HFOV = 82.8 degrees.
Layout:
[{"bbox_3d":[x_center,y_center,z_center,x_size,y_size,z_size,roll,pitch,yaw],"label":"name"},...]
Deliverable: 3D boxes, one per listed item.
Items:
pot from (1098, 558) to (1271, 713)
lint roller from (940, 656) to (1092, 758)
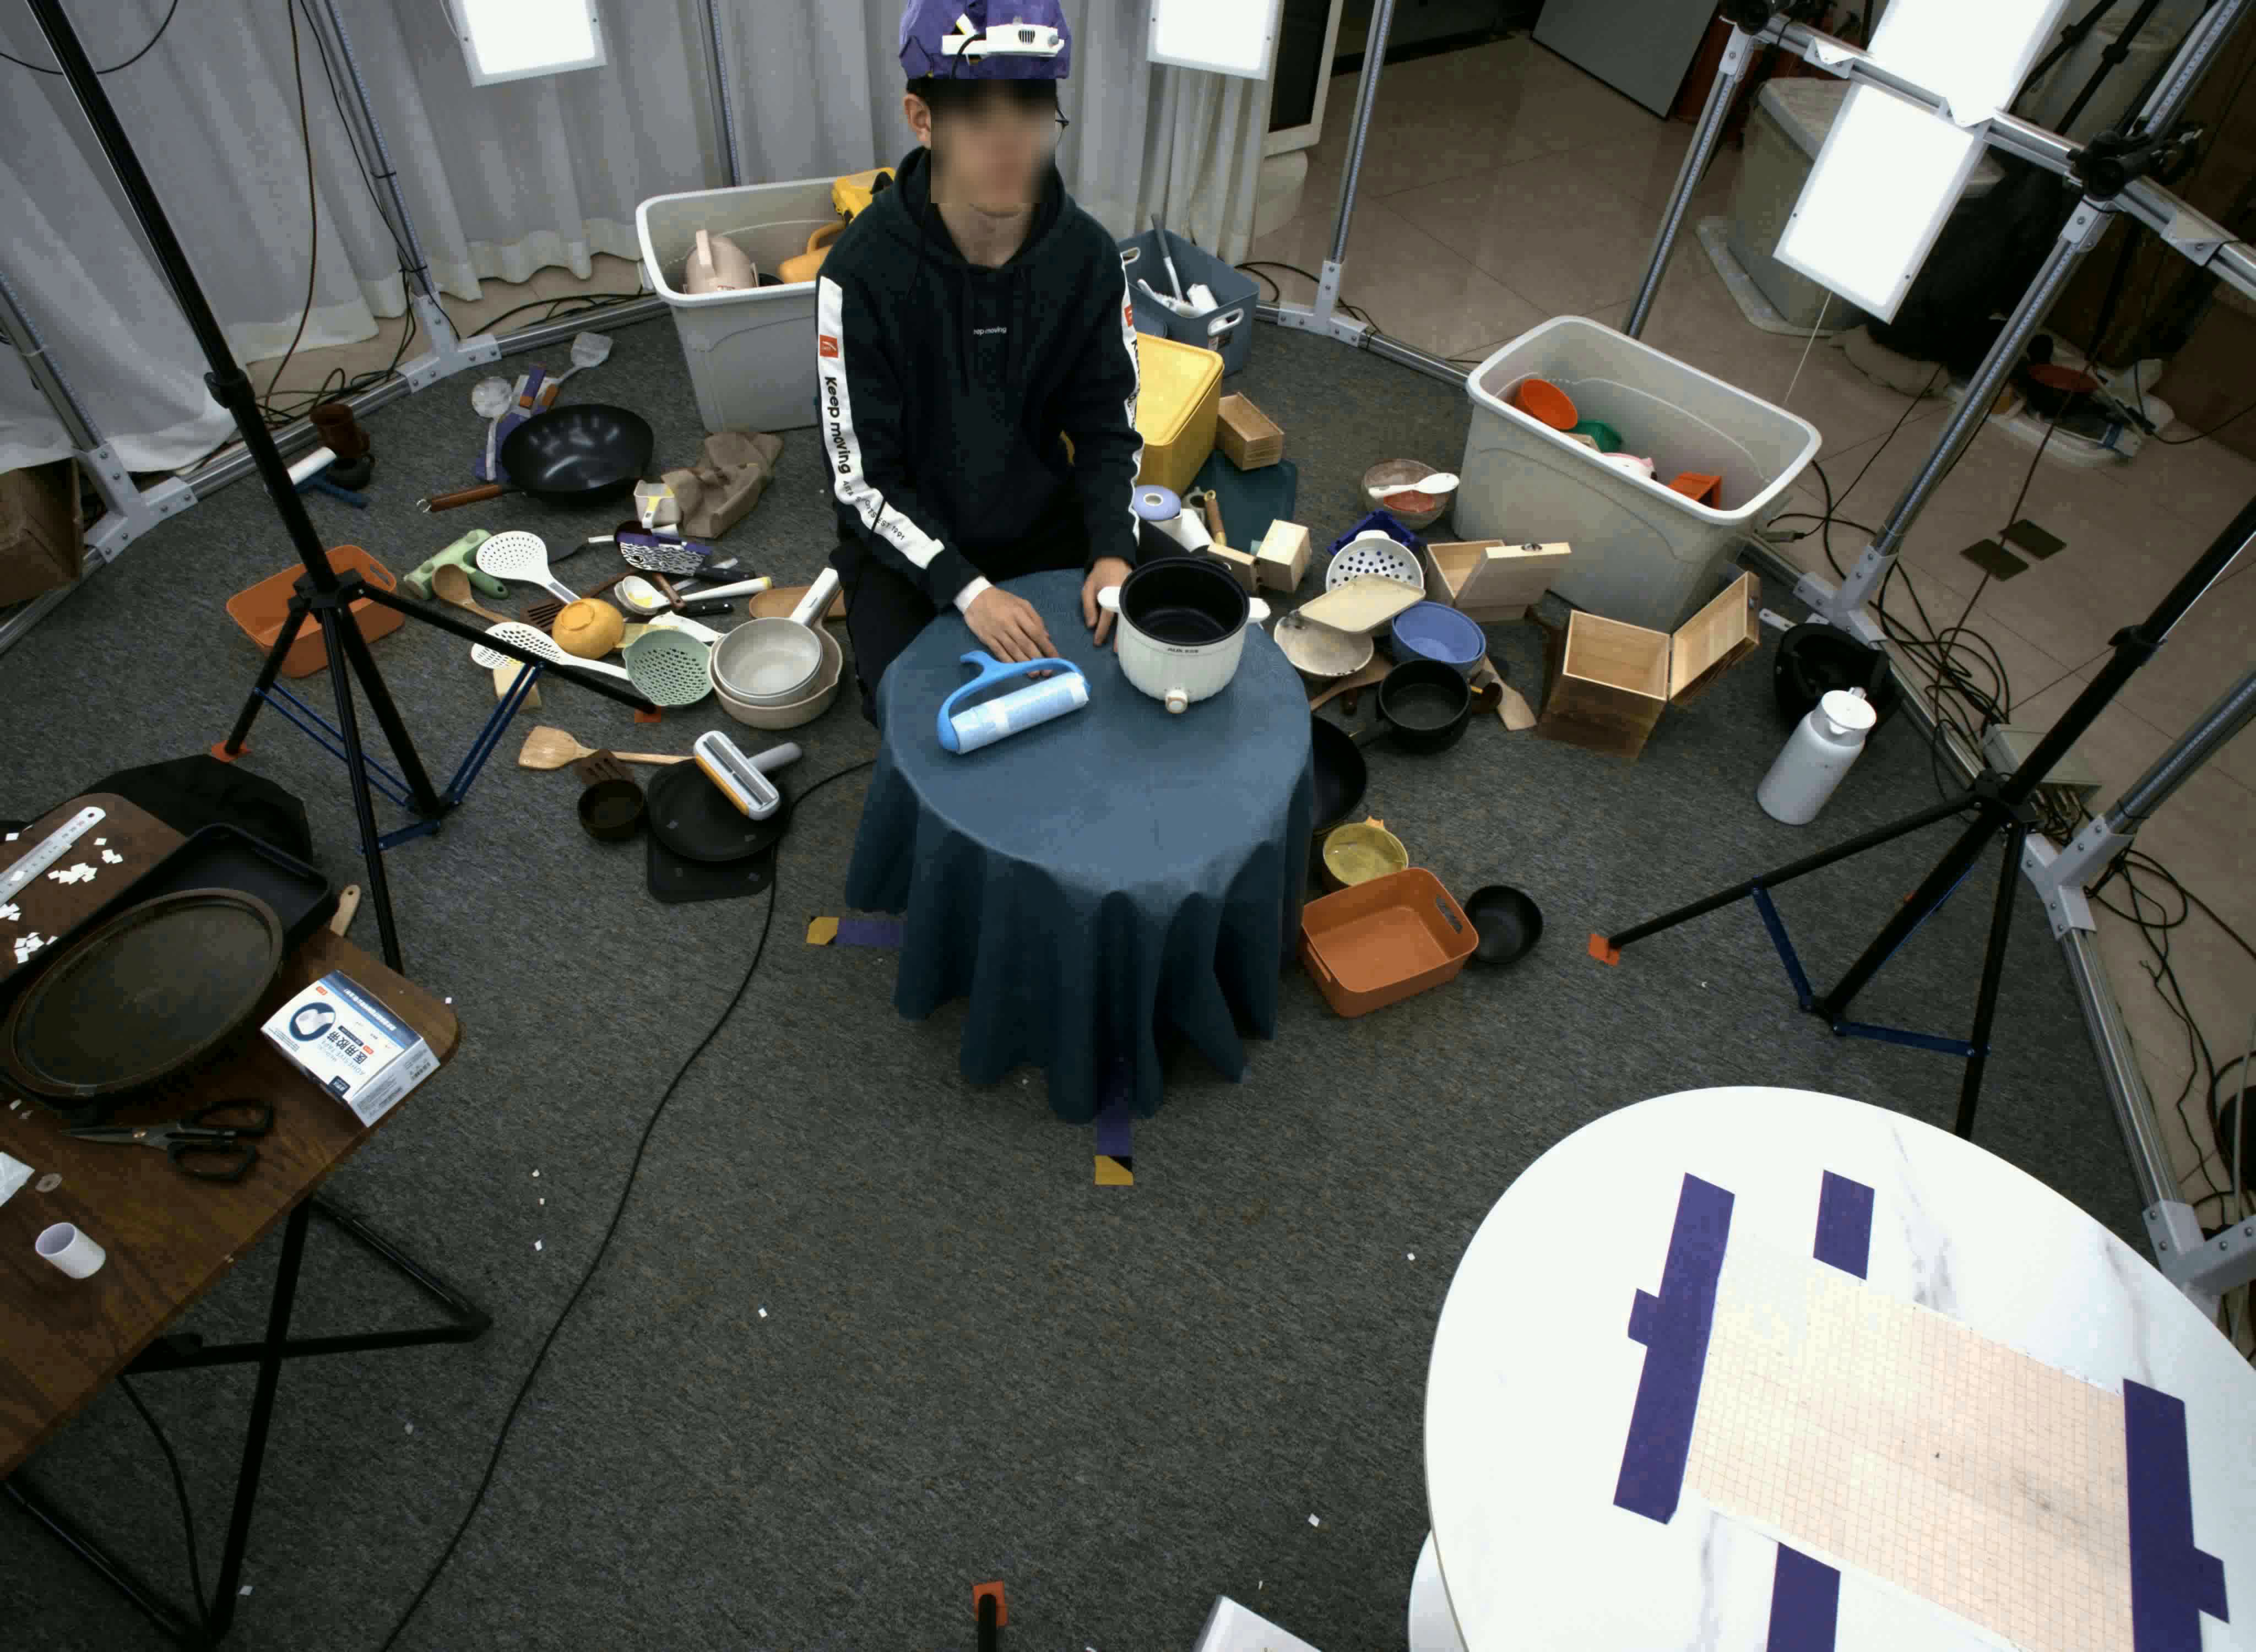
[{"bbox_3d":[0.076,-0.266,1.813,0.240,0.139,0.195,3,46,0],"label":"pot"},{"bbox_3d":[-0.184,-0.193,1.789,0.230,0.066,0.184,-28,57,-23],"label":"lint roller"}]
